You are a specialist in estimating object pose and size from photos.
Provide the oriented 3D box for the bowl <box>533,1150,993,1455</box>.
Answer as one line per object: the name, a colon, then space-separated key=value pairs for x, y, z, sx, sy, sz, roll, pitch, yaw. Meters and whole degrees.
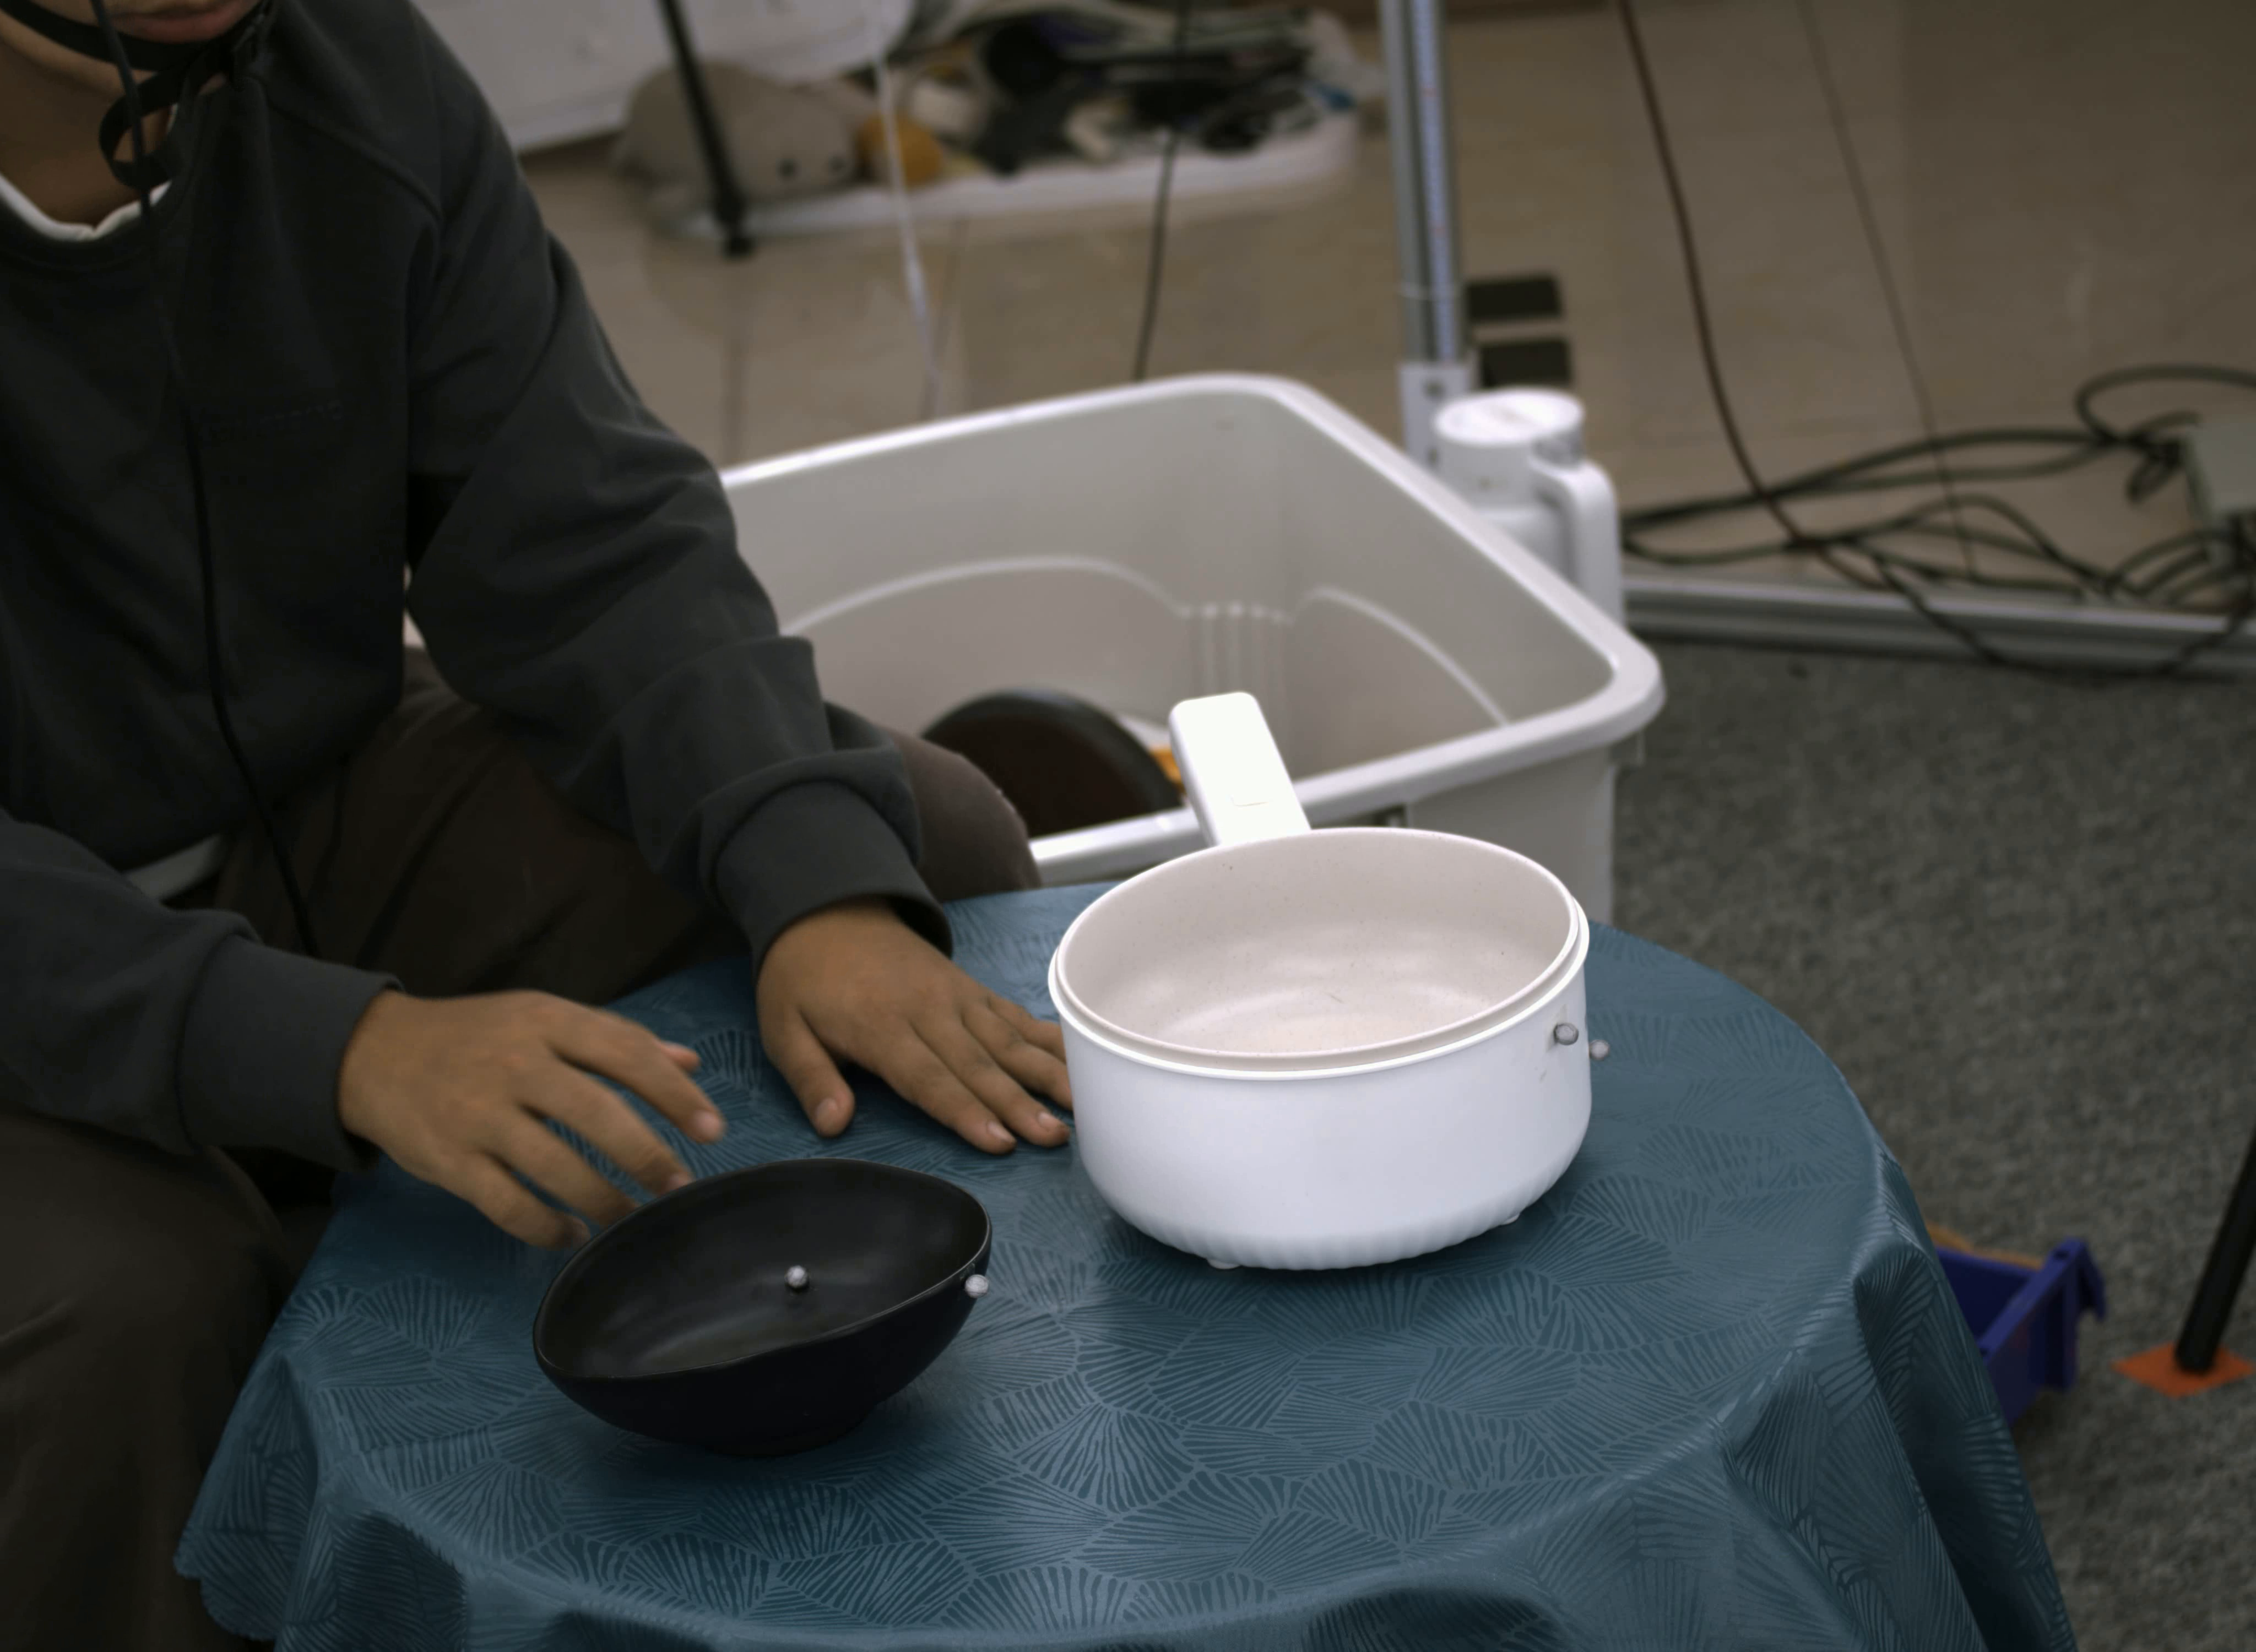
bowl: x=-0.125 y=0.179 z=2.013 sx=0.169 sy=0.068 sz=0.136 roll=-19 pitch=27 yaw=-21

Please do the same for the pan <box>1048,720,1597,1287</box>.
pan: x=0.065 y=0.065 z=2.193 sx=0.201 sy=0.103 sz=0.350 roll=-12 pitch=23 yaw=-4
